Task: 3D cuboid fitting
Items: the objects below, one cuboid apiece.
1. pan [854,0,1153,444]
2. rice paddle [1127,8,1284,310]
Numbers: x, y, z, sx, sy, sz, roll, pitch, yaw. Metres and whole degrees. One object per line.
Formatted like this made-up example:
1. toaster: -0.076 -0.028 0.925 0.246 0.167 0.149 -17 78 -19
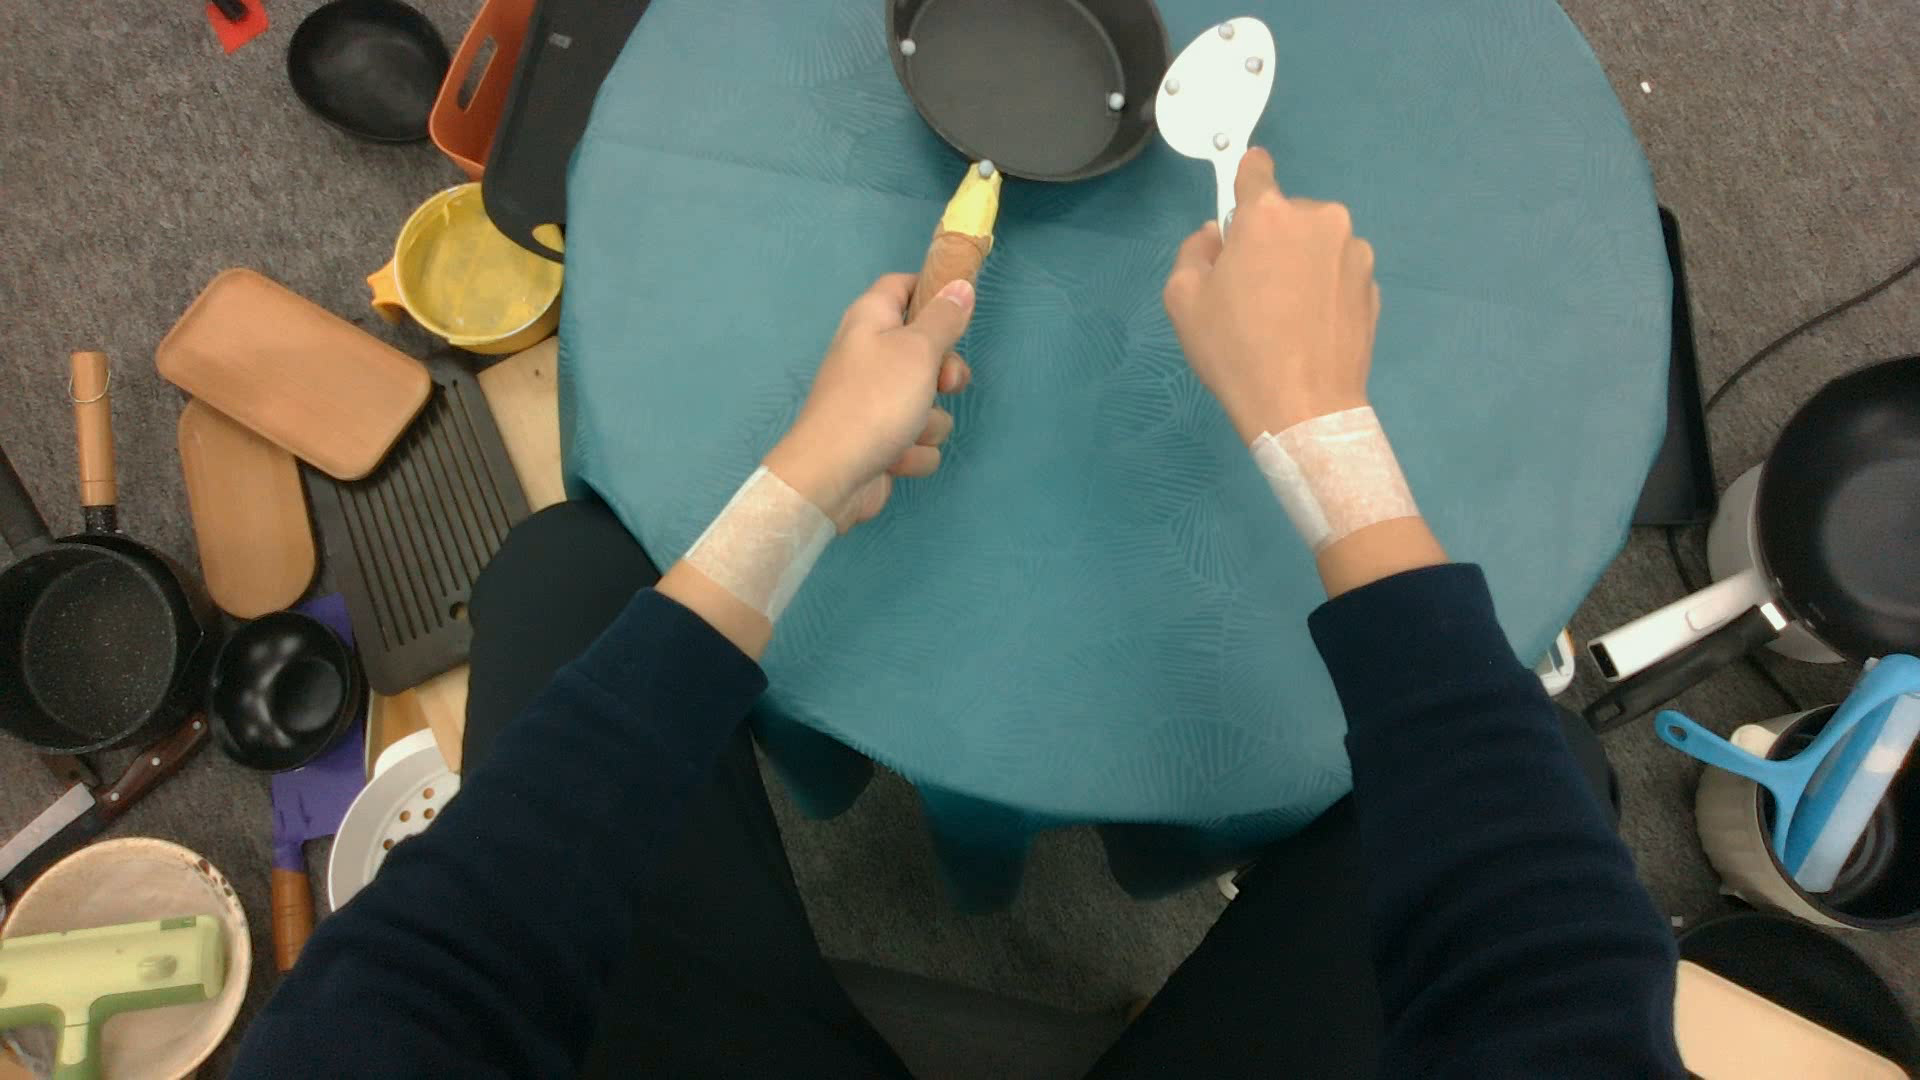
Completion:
1. pan: -0.002 -0.189 0.695 0.169 0.049 0.325 23 69 -11
2. rice paddle: 0.119 -0.195 0.671 0.068 0.029 0.206 -29 48 28
